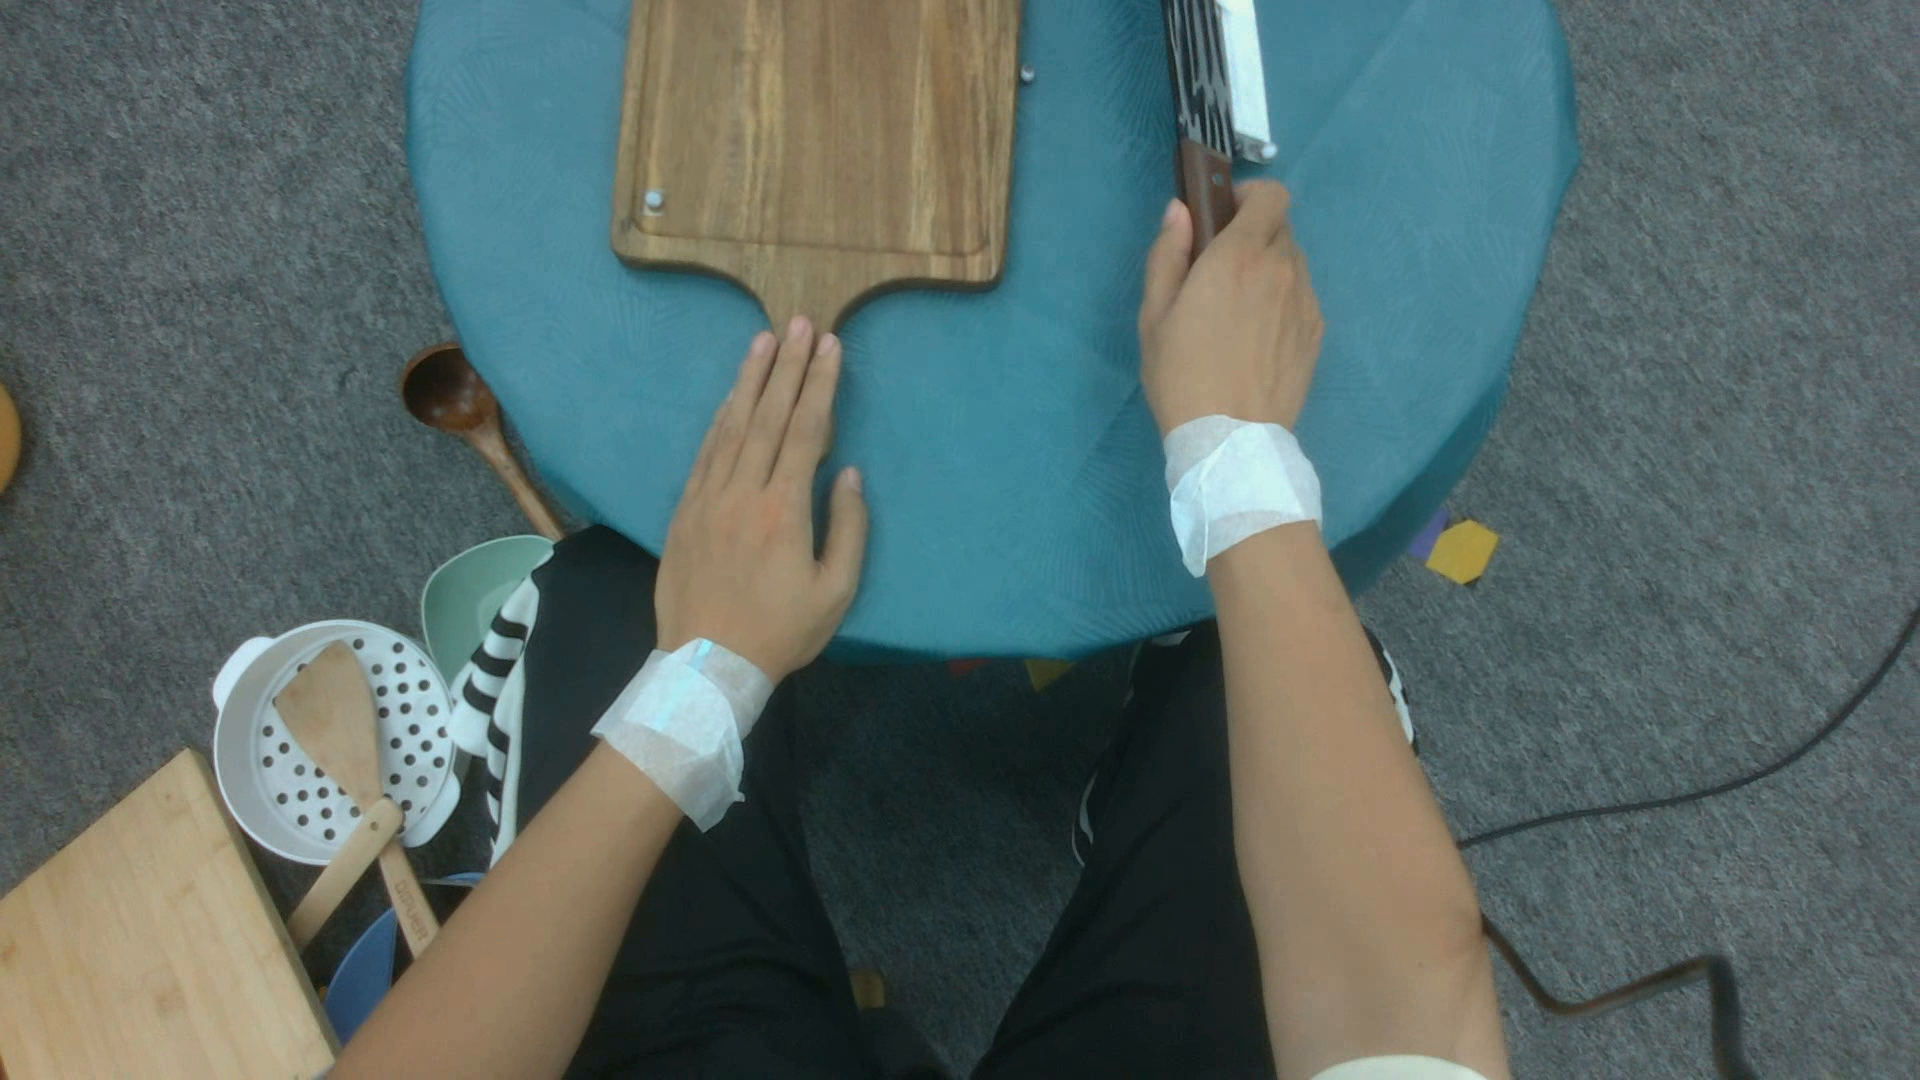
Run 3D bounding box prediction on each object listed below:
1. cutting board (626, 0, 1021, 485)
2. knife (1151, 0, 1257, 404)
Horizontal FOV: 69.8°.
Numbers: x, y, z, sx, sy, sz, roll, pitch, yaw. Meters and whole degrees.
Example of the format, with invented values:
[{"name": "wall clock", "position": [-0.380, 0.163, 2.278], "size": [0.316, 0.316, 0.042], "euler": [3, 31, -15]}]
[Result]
[{"name": "cutting board", "position": [-0.070, -0.204, 0.718], "size": [0.201, 0.023, 0.352], "euler": [3, 83, -2]}, {"name": "knife", "position": [0.125, -0.214, 0.692], "size": [0.068, 0.024, 0.300], "euler": [0, 82, -39]}]
